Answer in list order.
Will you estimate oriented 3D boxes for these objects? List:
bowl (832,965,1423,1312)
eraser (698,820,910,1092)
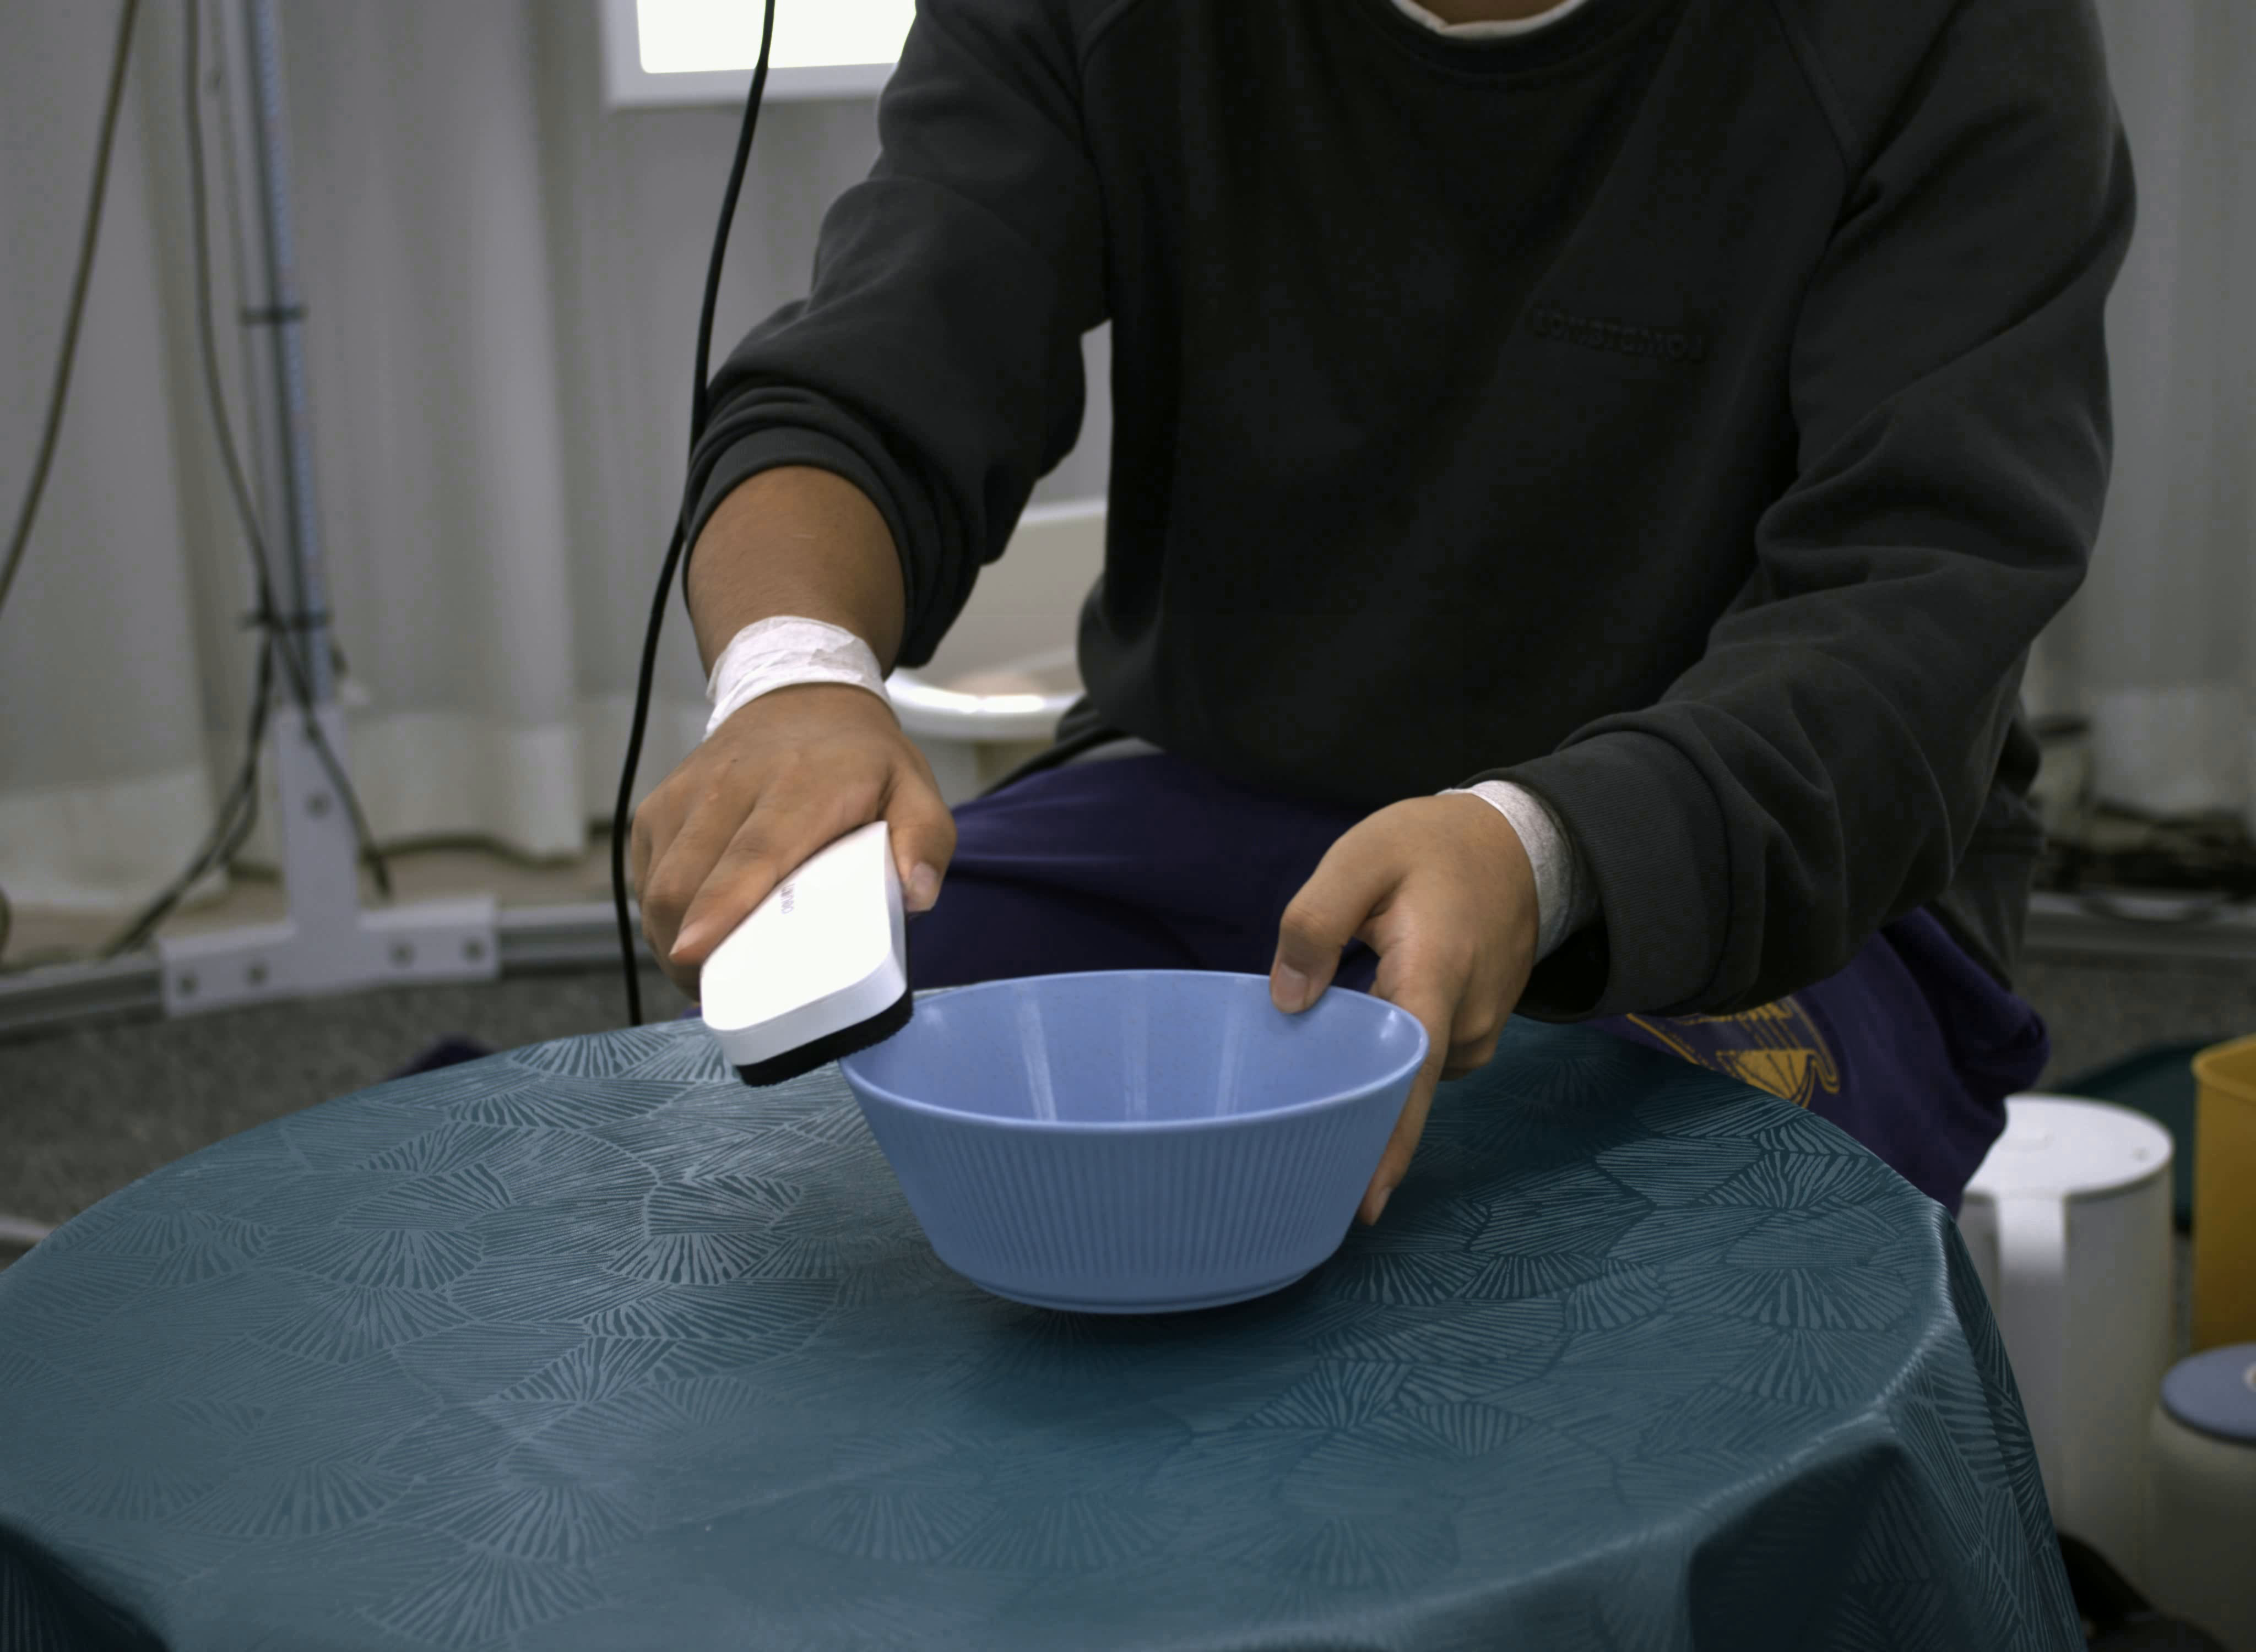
[{"bbox_3d":[0.000,0.095,1.624,0.175,0.070,0.177,0,14,0],"label":"bowl"},{"bbox_3d":[-0.096,0.035,1.661,0.063,0.034,0.132,-20,21,6],"label":"eraser"}]
